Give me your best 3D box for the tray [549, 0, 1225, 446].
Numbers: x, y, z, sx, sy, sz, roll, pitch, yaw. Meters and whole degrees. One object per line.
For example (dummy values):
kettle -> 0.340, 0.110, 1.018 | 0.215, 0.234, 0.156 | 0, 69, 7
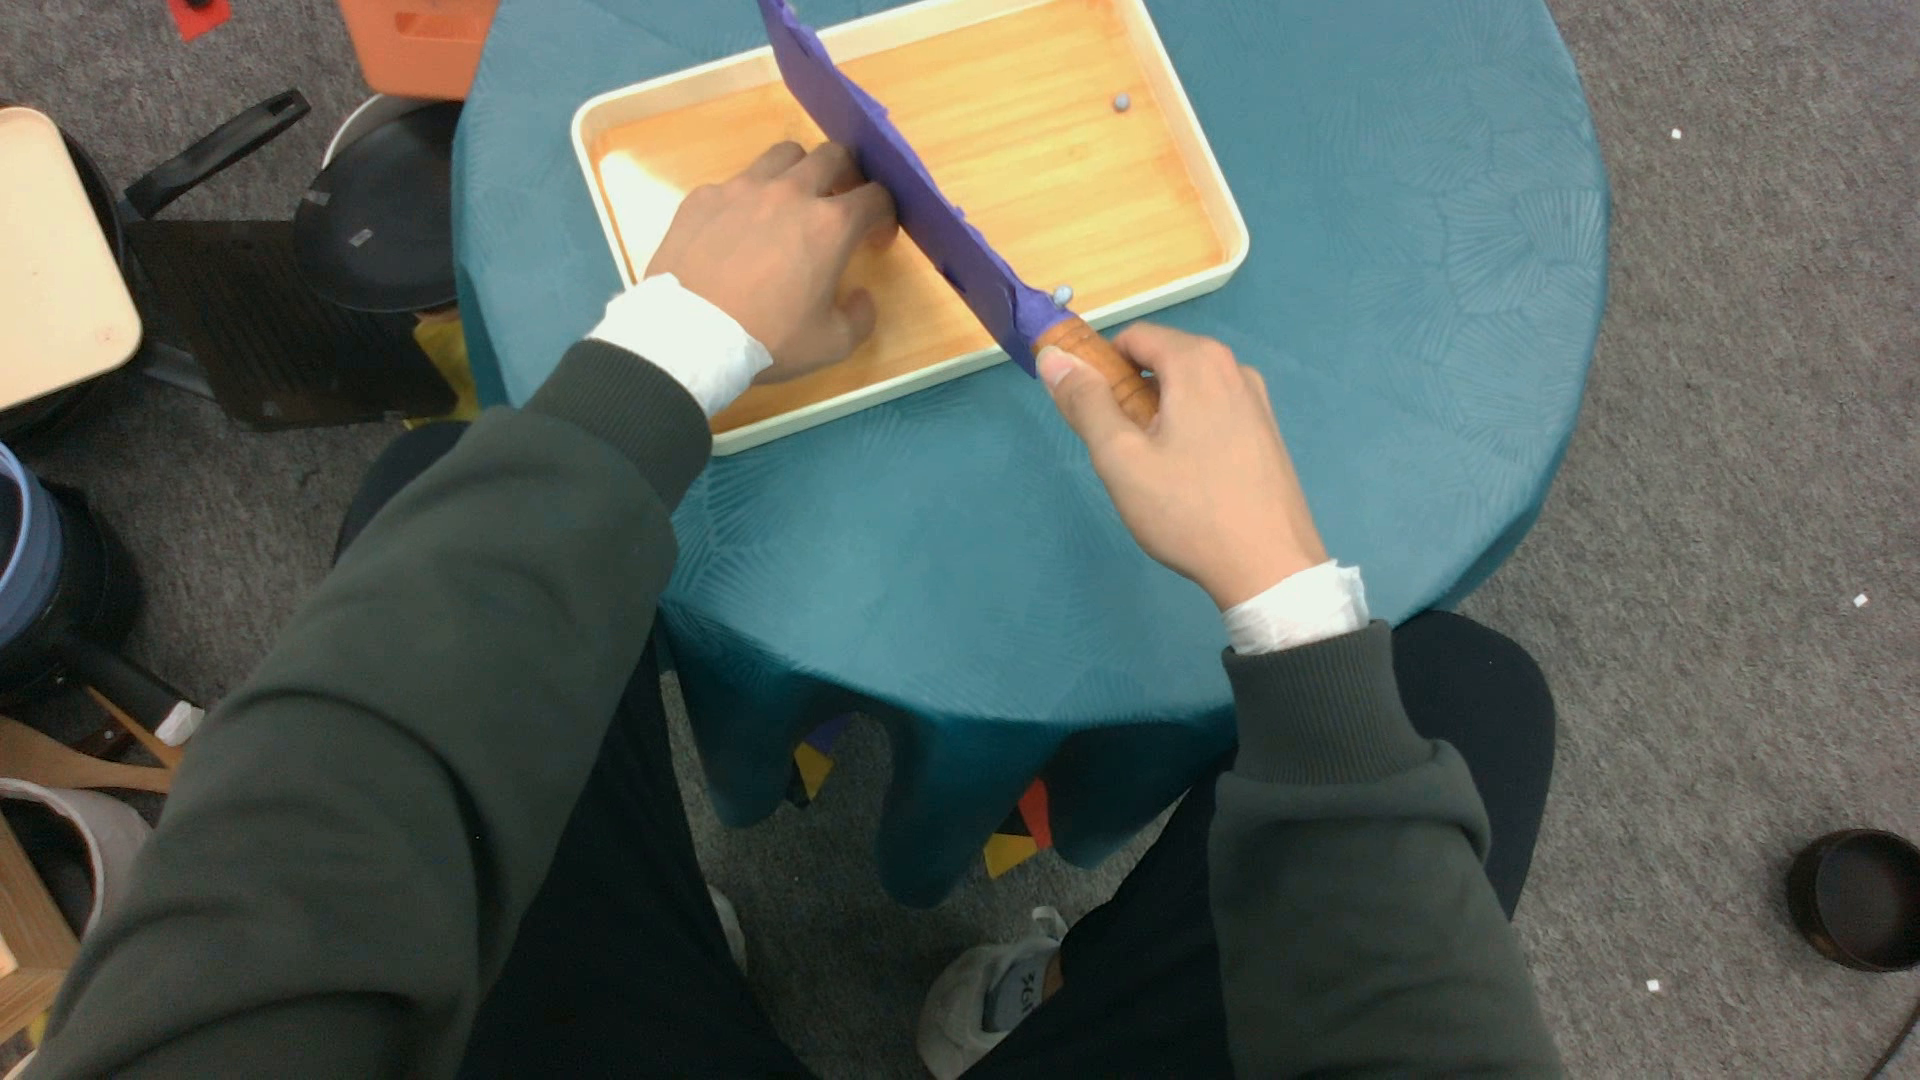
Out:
tray -> -0.035, -0.178, 0.695 | 0.301, 0.027, 0.192 | -20, 78, -10

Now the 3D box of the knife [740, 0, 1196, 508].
knife -> -0.005, -0.135, 0.621 | 0.032, 0.103, 0.315 | -36, 76, -5
